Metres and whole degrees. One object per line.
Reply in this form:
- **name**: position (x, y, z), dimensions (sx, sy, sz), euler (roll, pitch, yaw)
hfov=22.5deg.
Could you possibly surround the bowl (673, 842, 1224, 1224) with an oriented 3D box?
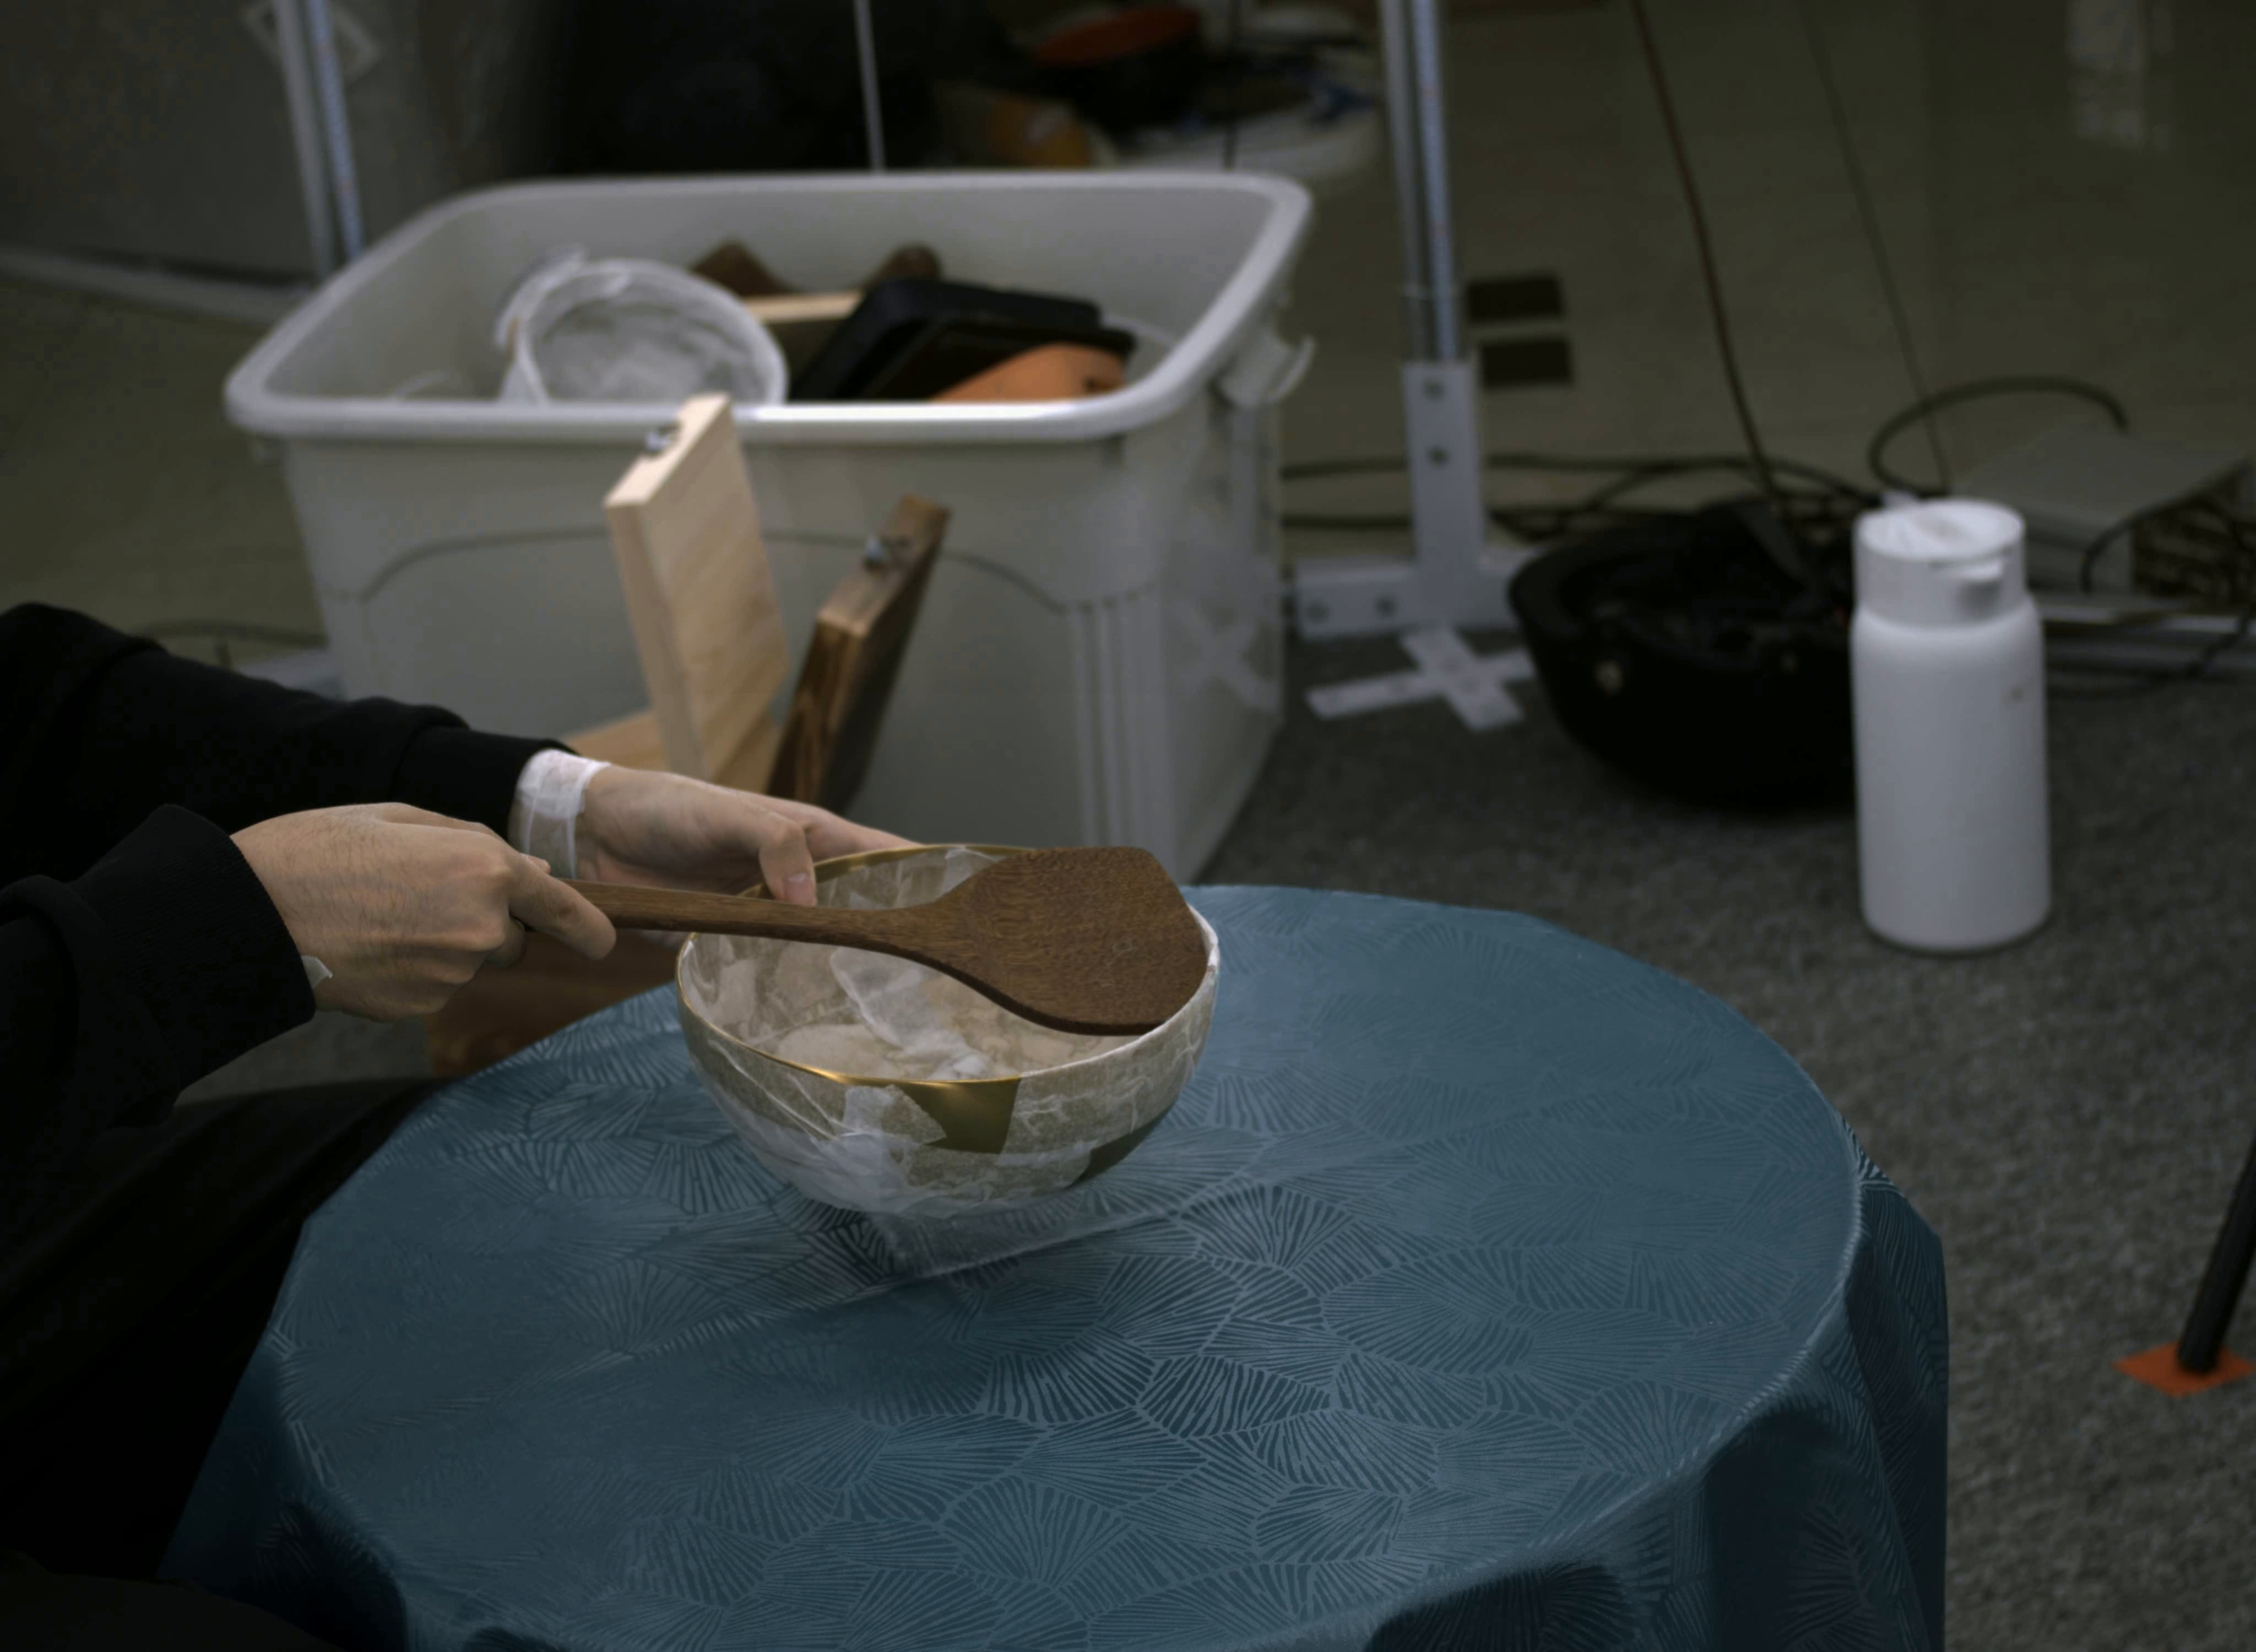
- **bowl**: position (-0.067, 0.088, 2.116), dimensions (0.214, 0.096, 0.211), euler (-3, 26, 1)

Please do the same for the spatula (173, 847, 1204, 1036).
- **spatula**: position (-0.152, 0.032, 2.038), dimensions (0.386, 0.016, 0.094), euler (5, 43, -22)
